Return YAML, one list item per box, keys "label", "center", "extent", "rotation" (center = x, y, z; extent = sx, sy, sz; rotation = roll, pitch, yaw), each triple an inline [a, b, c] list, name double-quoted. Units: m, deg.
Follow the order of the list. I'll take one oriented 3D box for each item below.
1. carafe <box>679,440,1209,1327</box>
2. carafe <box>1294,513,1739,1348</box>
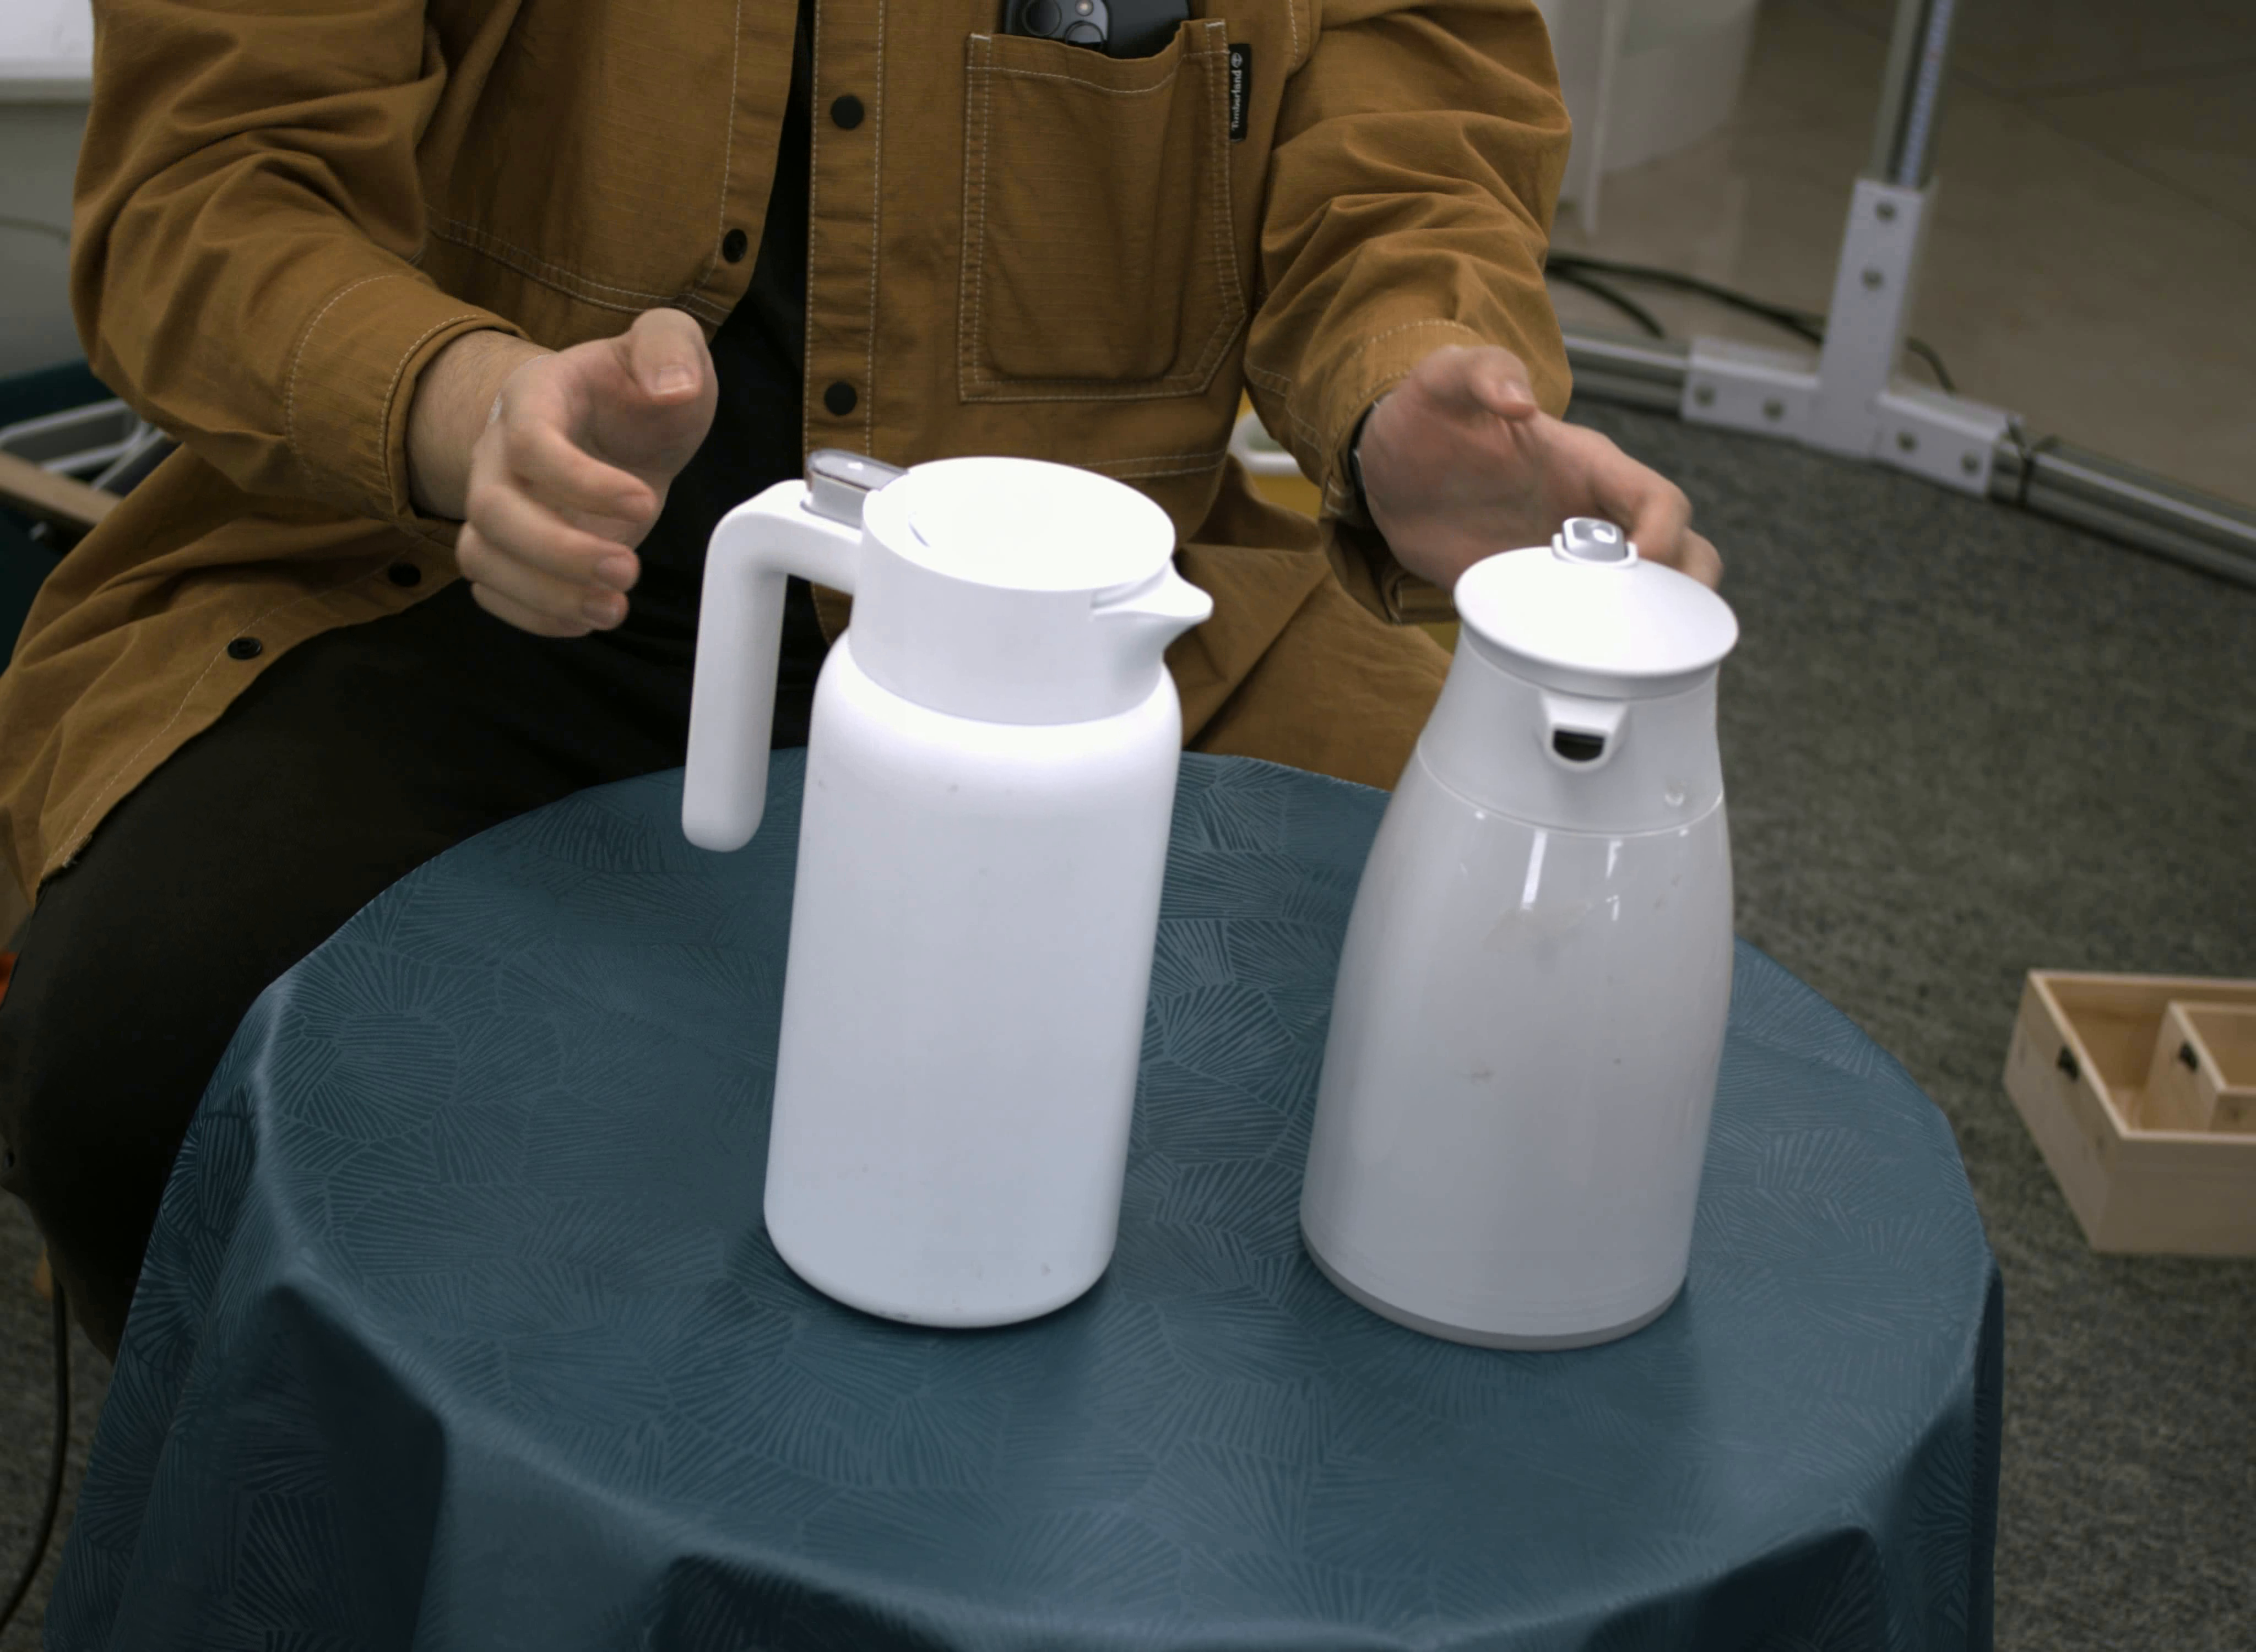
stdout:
- label: "carafe"
  center: [-0.065, 0.016, 1.708]
  extent: [0.173, 0.268, 0.124]
  rotation: [18, 30, 22]
- label: "carafe"
  center: [0.136, 0.023, 1.759]
  extent: [0.132, 0.248, 0.168]
  rotation: [8, 26, 3]
